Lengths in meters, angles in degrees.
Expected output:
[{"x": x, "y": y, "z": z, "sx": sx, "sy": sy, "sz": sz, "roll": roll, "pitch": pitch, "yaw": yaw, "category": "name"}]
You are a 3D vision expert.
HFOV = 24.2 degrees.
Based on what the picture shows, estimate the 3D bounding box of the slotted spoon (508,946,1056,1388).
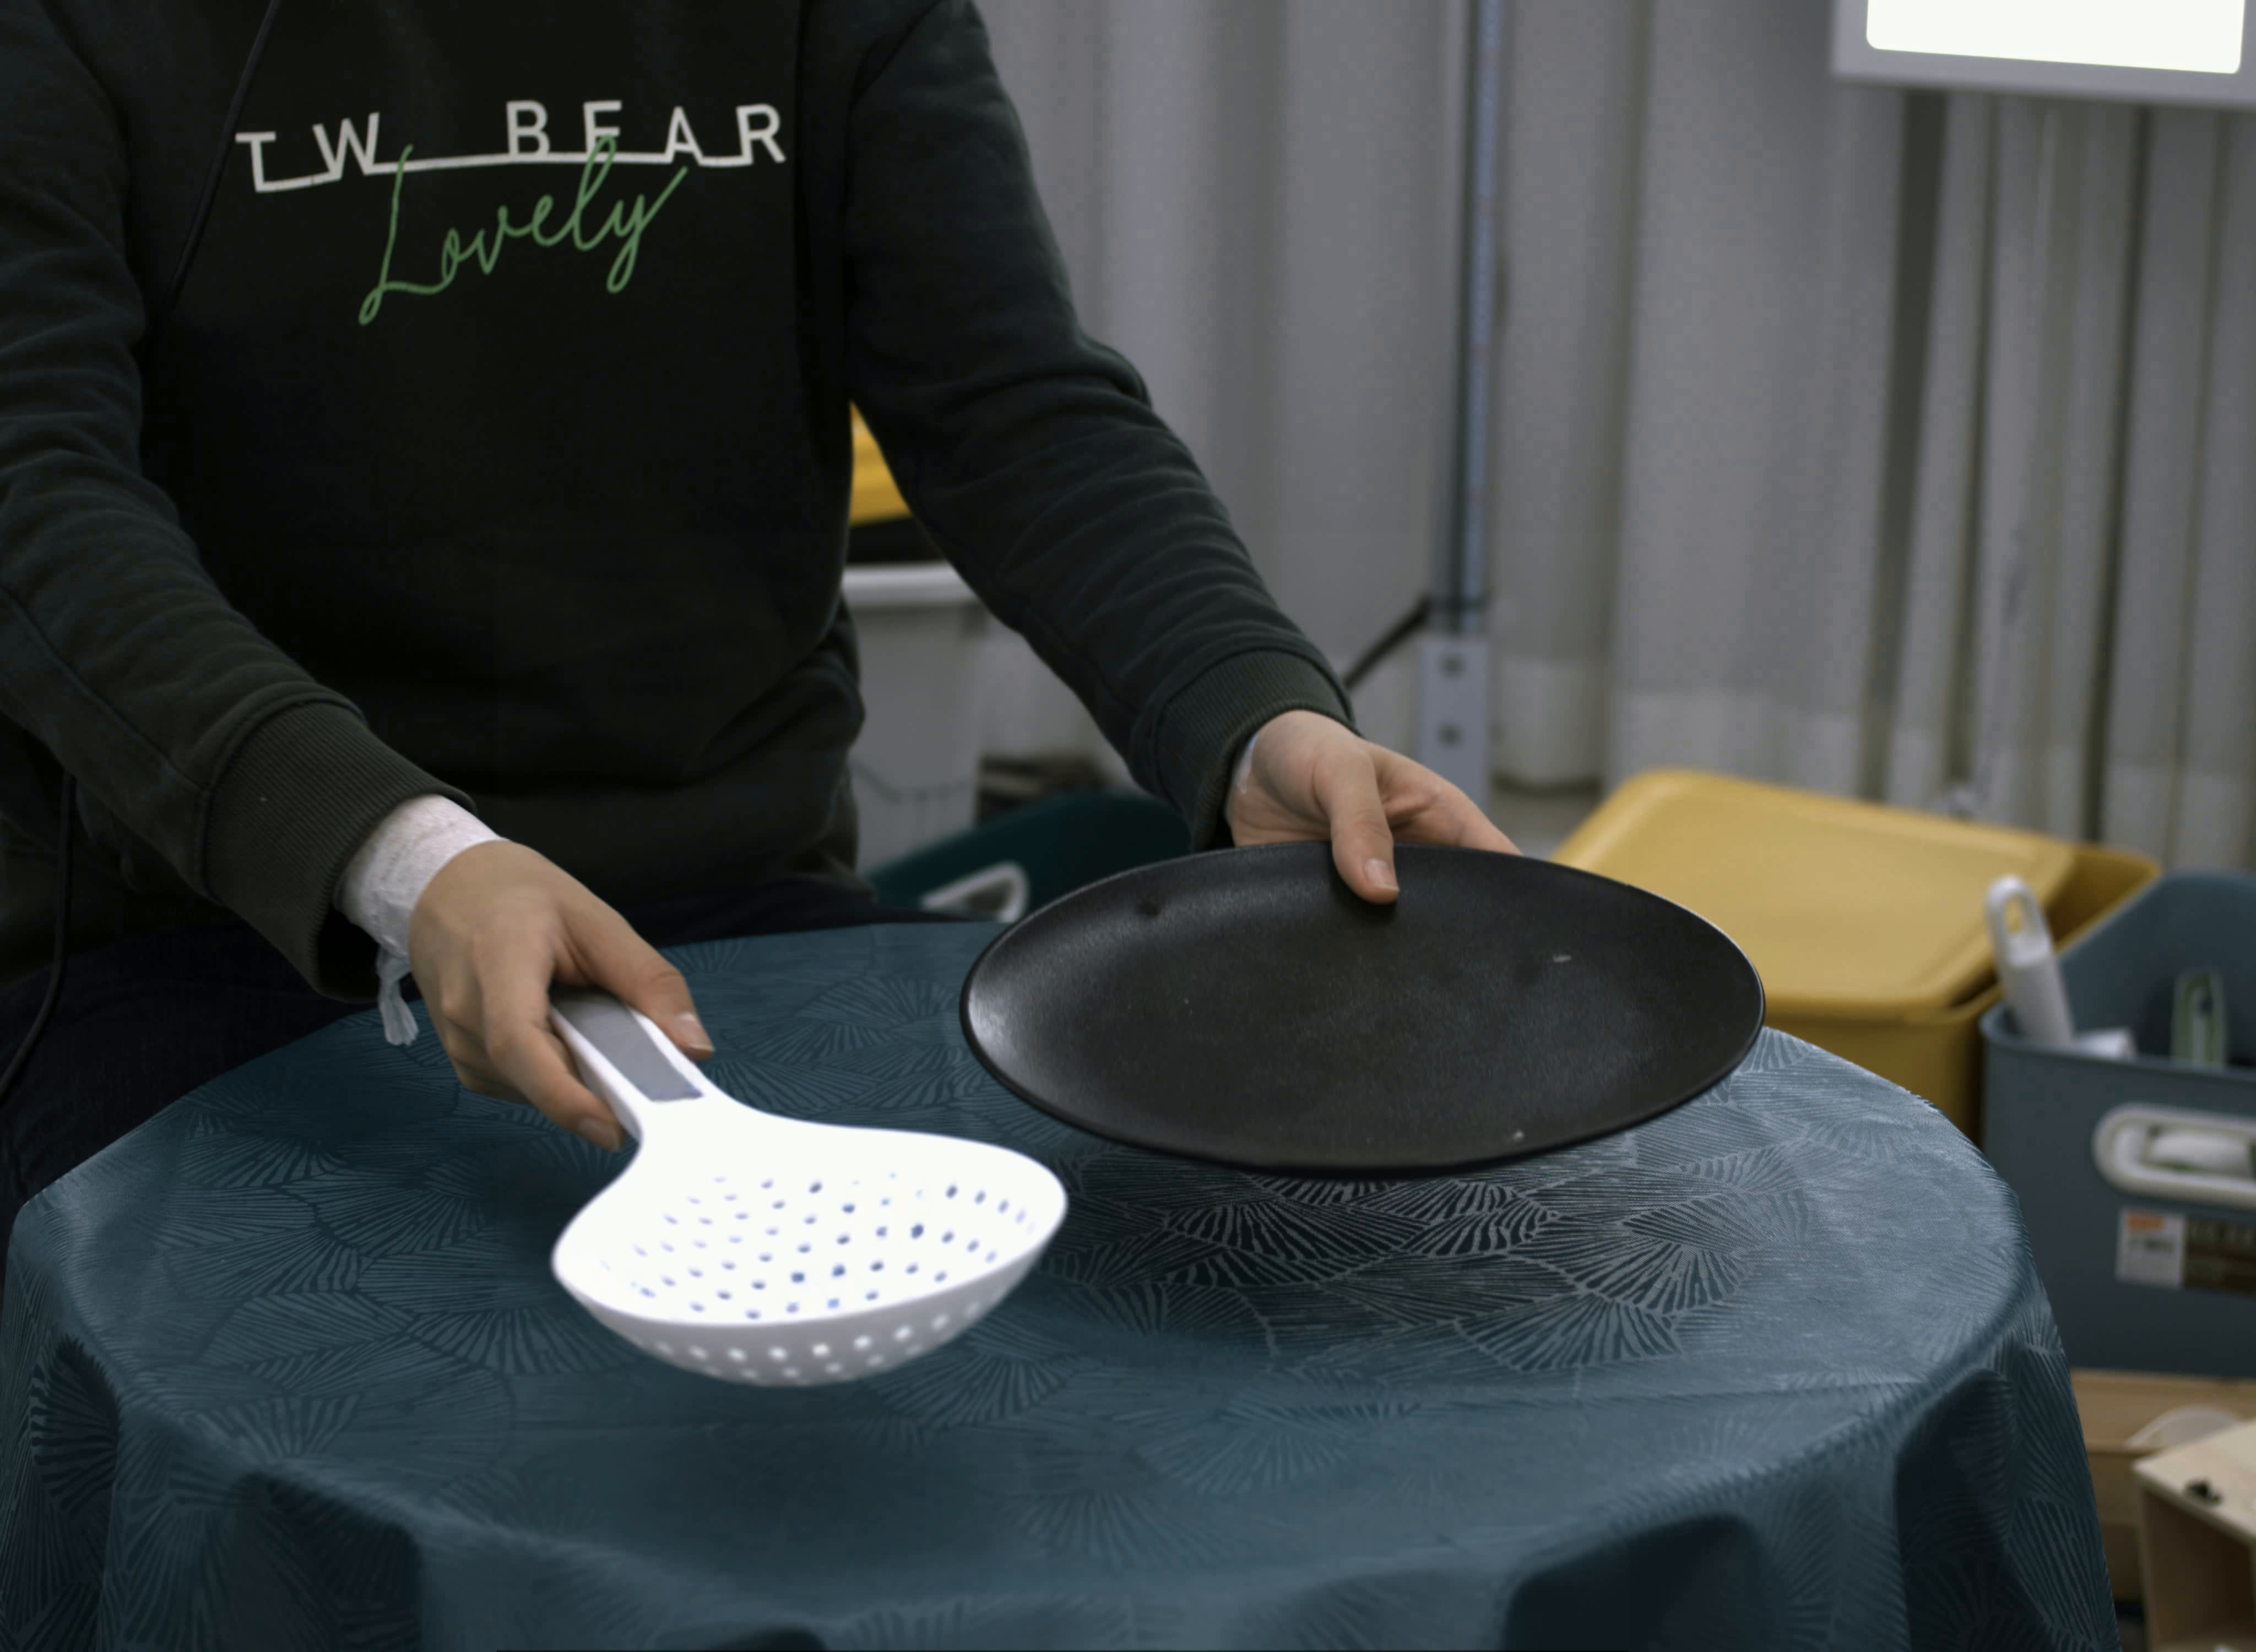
[{"x": -0.123, "y": 0.087, "z": 1.483, "sx": 0.136, "sy": 0.046, "sz": 0.345, "roll": -11, "pitch": 22, "yaw": -18, "category": "slotted spoon"}]

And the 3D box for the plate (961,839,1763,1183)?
[{"x": 0.071, "y": 0.058, "z": 1.597, "sx": 0.243, "sy": 0.023, "sz": 0.242, "roll": 0, "pitch": 22, "yaw": 1, "category": "plate"}]
